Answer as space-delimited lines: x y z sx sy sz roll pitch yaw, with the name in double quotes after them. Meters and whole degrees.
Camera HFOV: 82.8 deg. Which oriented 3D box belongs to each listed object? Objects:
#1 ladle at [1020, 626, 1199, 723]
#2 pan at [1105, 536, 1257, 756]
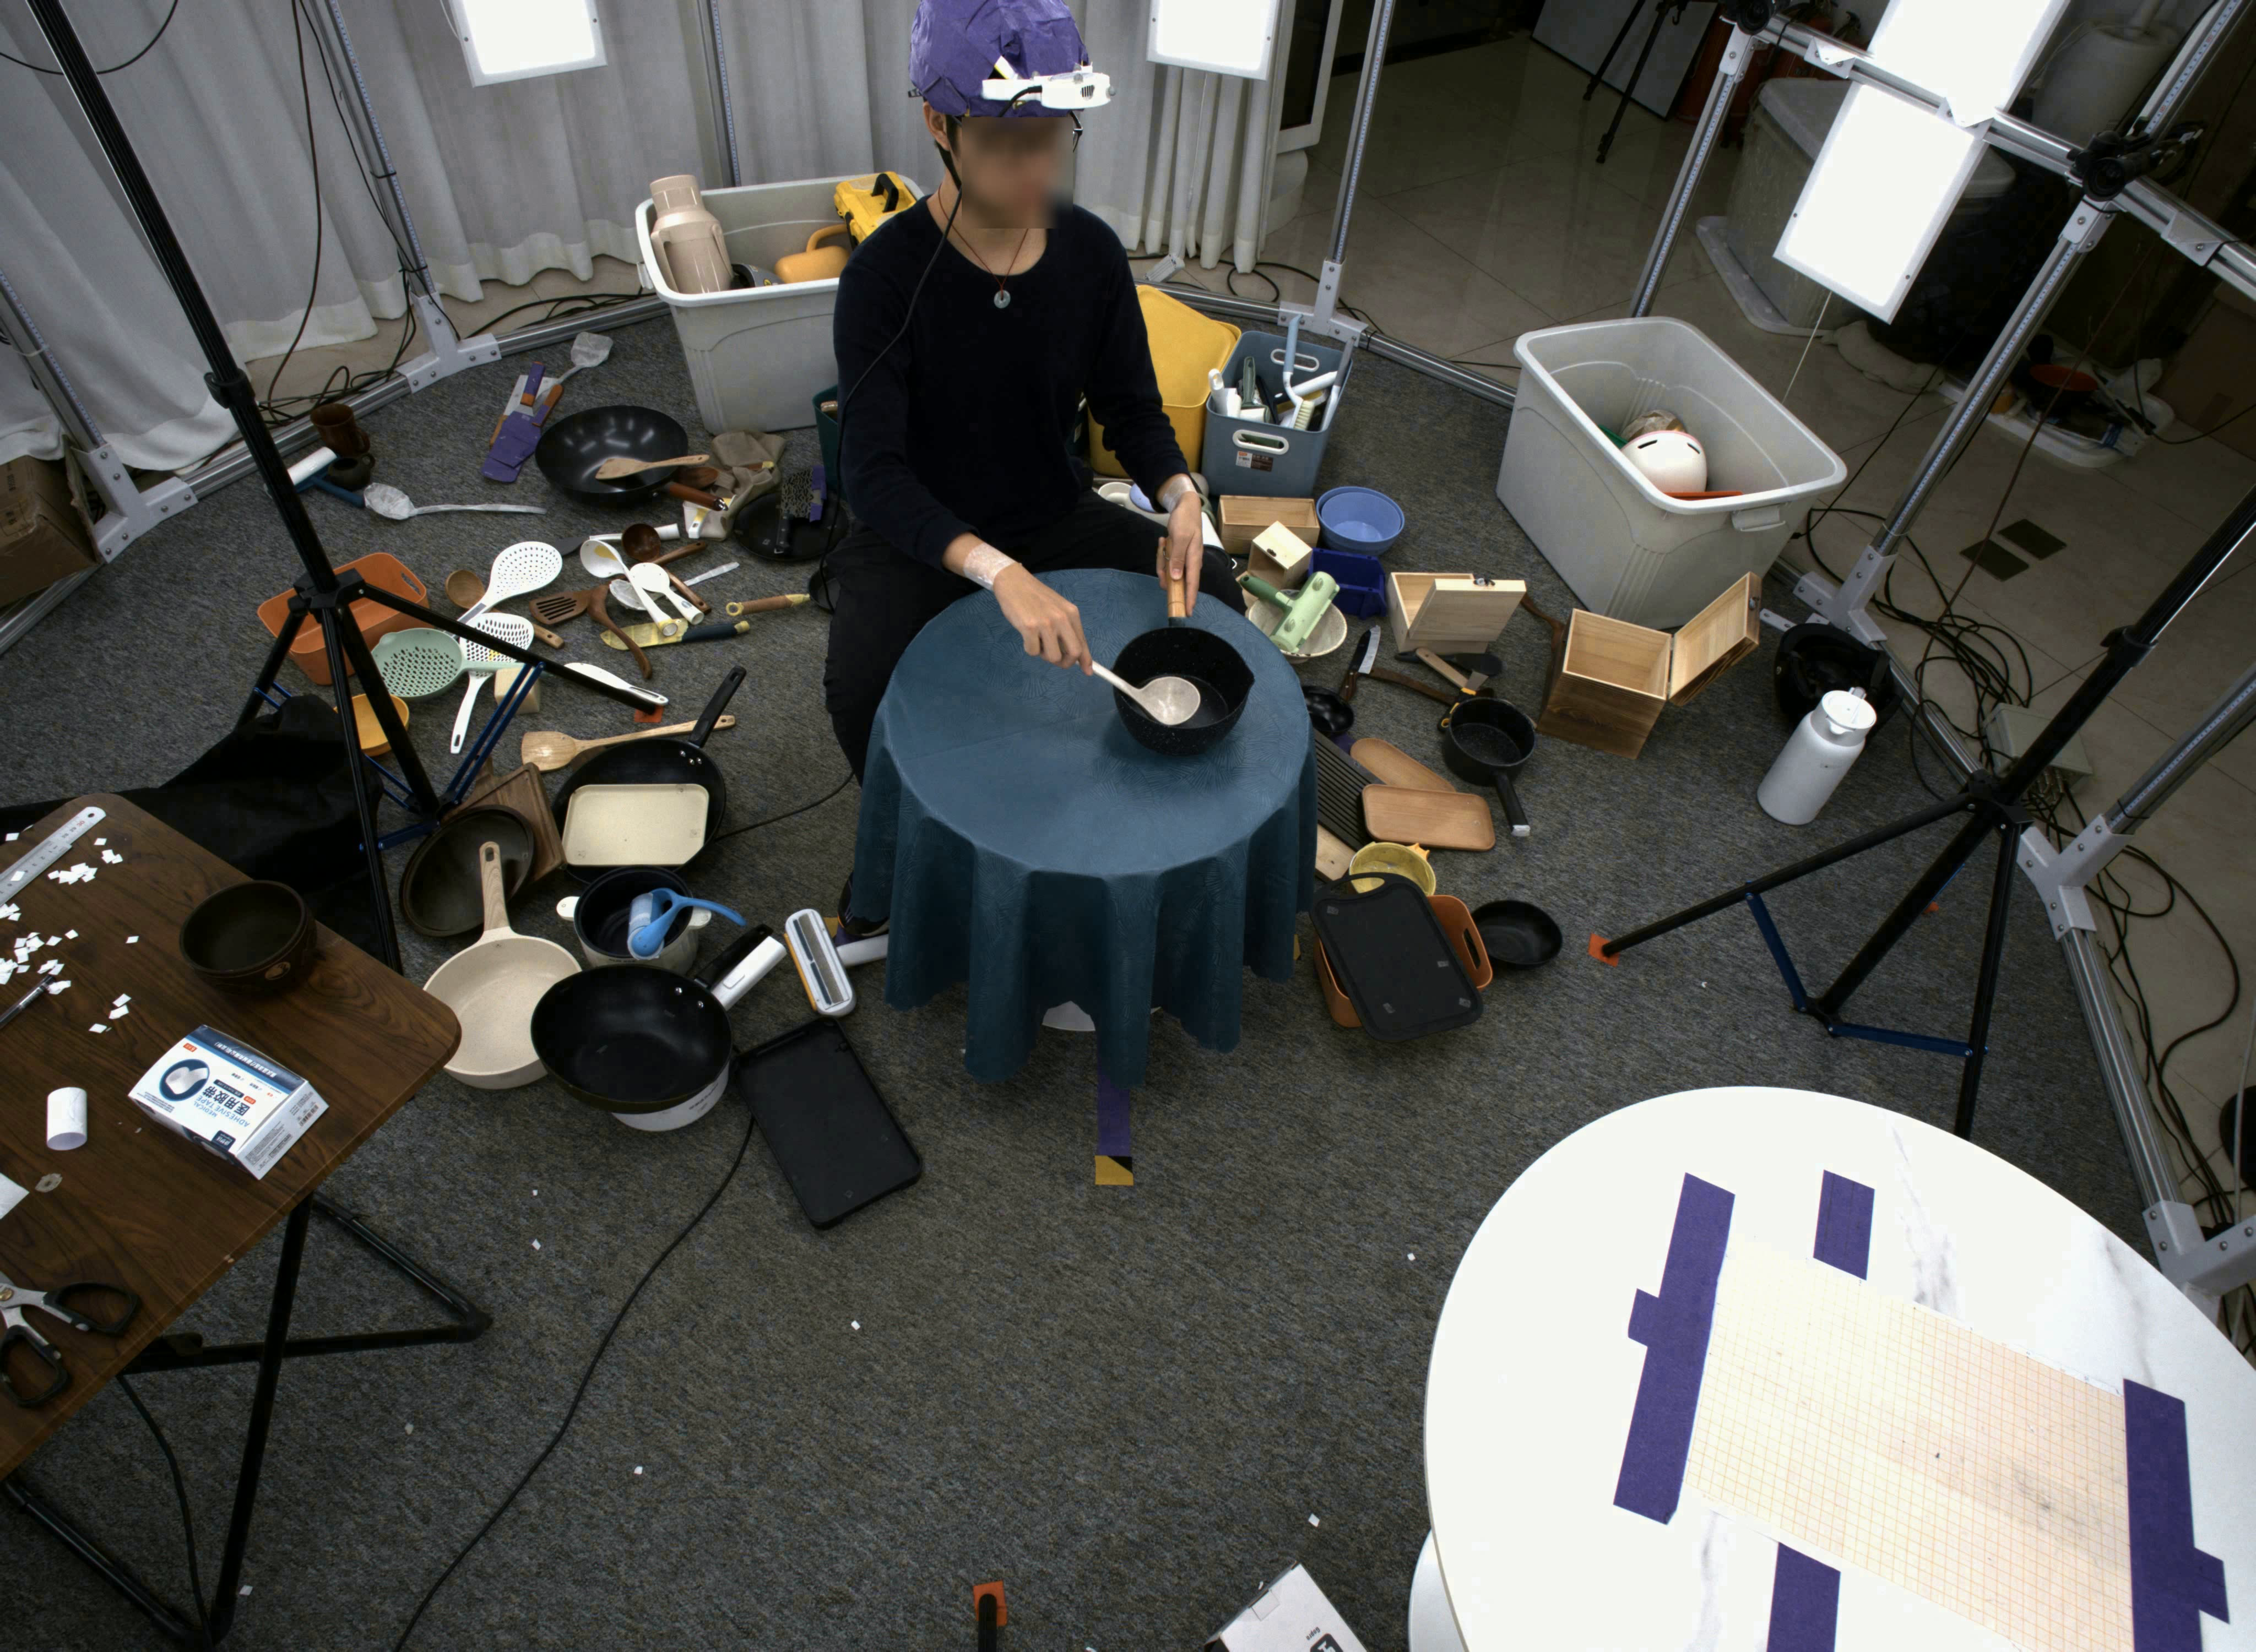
-0.018 -0.212 1.686 0.270 0.069 0.091 29 42 -38 "ladle"
0.067 -0.253 1.808 0.207 0.106 0.351 -1 55 -3 "pan"
